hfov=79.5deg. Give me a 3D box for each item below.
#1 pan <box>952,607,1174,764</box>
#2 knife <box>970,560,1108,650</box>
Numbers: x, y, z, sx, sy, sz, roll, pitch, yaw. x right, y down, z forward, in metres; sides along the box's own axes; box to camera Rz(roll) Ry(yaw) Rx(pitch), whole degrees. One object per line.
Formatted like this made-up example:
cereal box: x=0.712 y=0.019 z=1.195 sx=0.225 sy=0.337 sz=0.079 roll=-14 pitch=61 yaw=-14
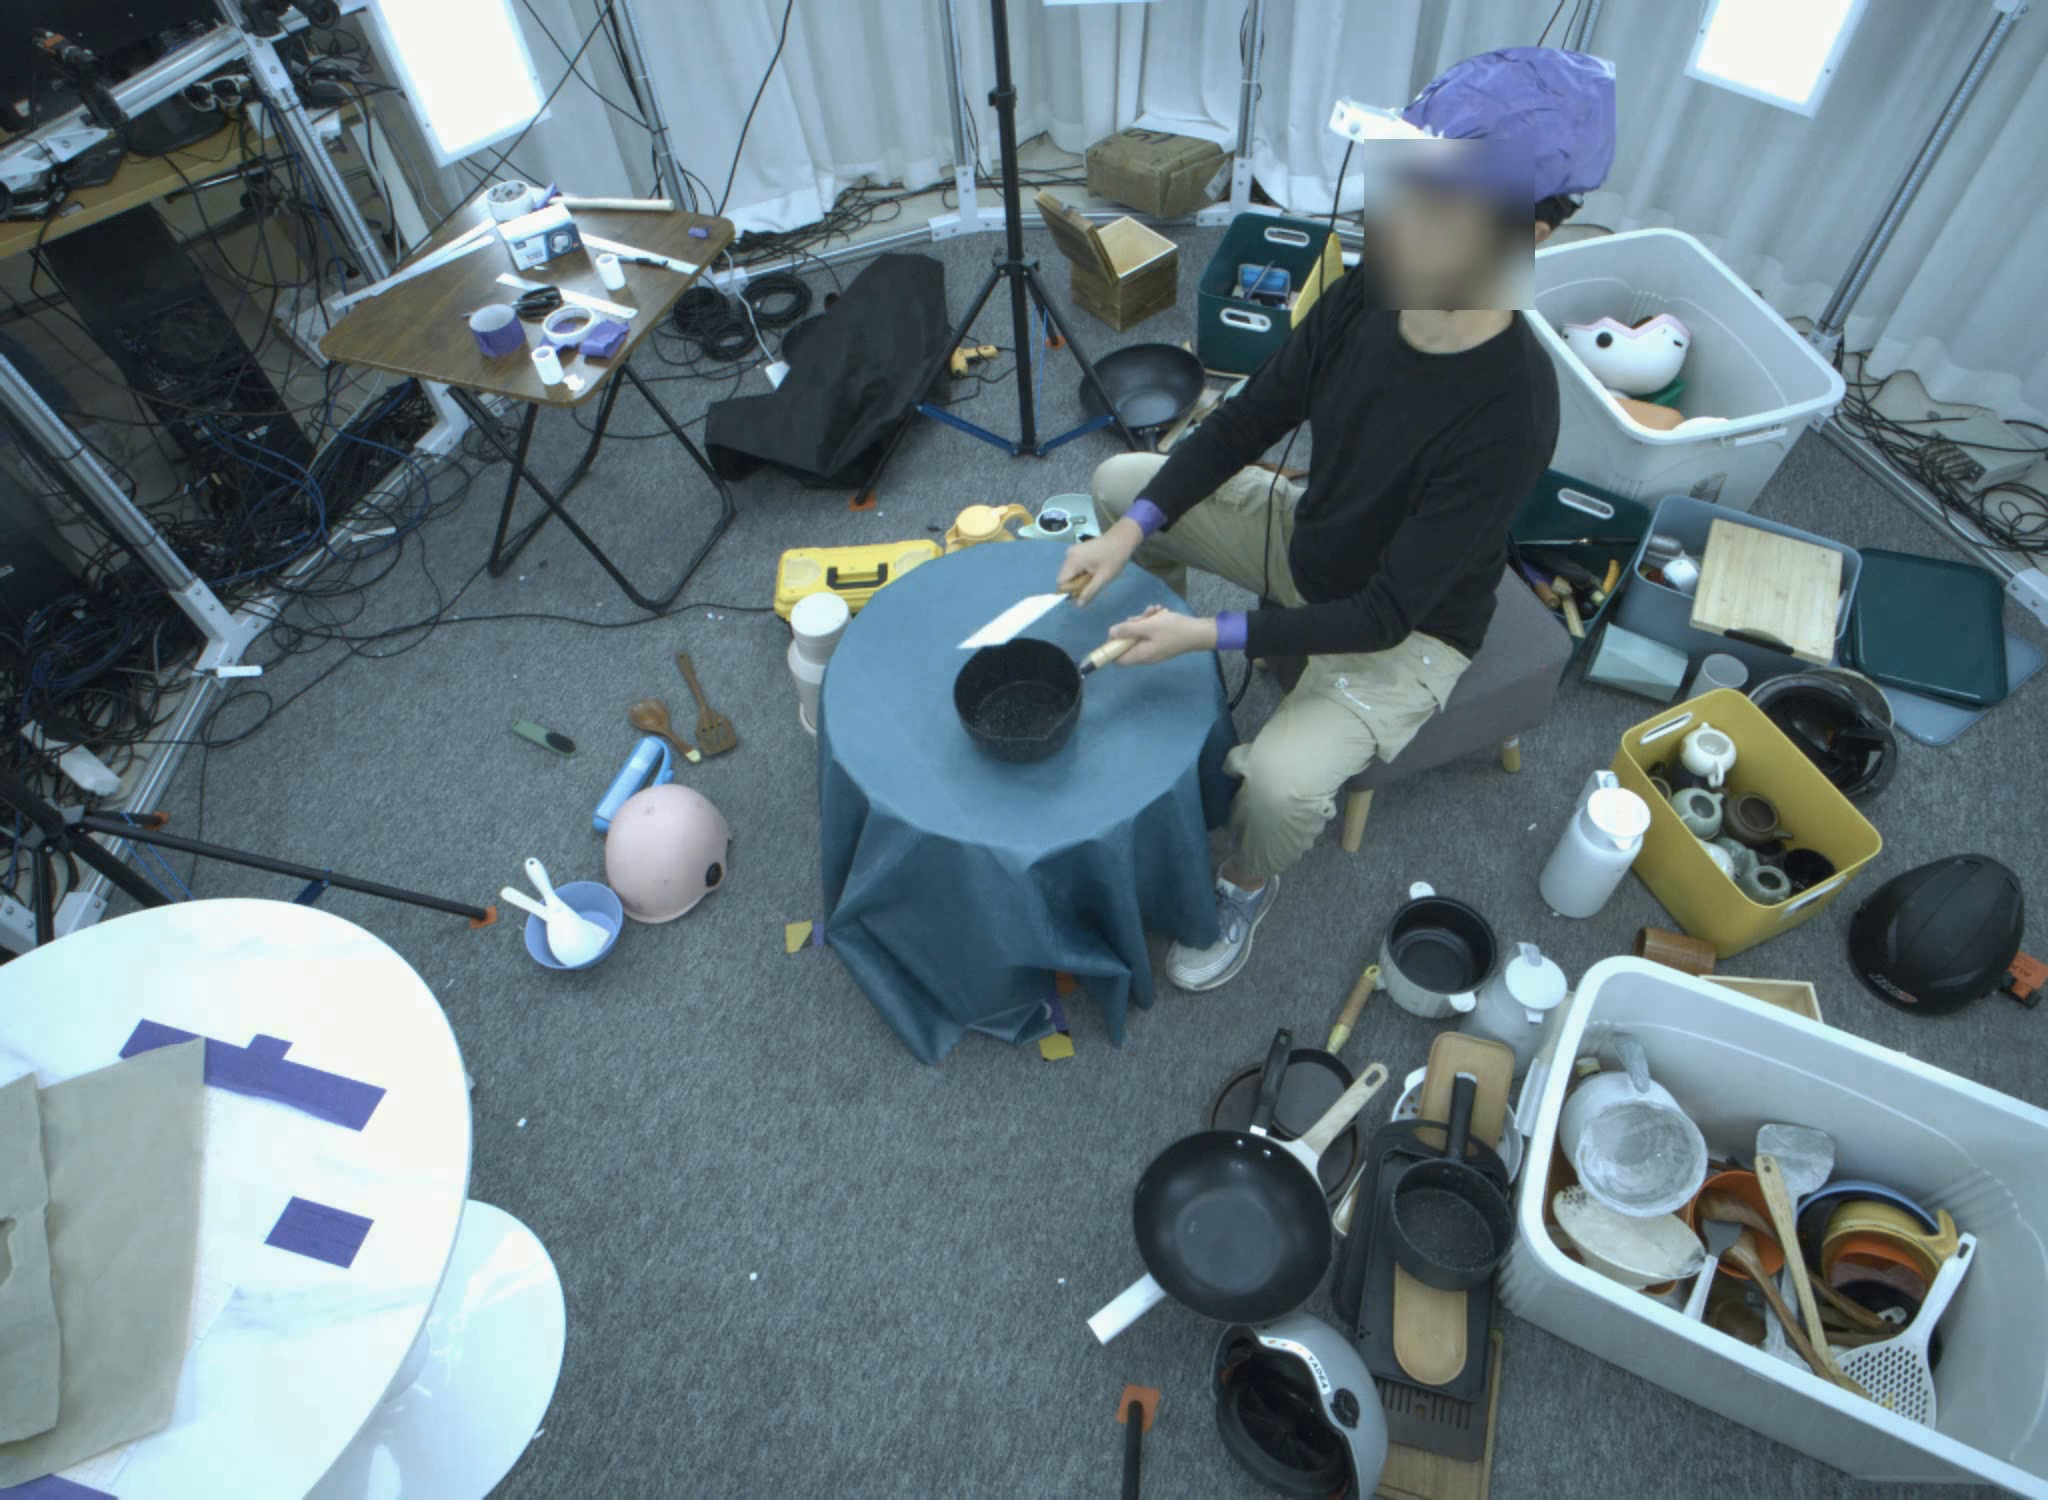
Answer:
pan: x=0.064 y=-0.105 z=1.779 sx=0.344 sy=0.109 sz=0.203 roll=-25 pitch=57 yaw=-10
knife: x=0.021 y=-0.213 z=1.805 sx=0.091 sy=0.021 sz=0.308 roll=-4 pitch=26 yaw=36
